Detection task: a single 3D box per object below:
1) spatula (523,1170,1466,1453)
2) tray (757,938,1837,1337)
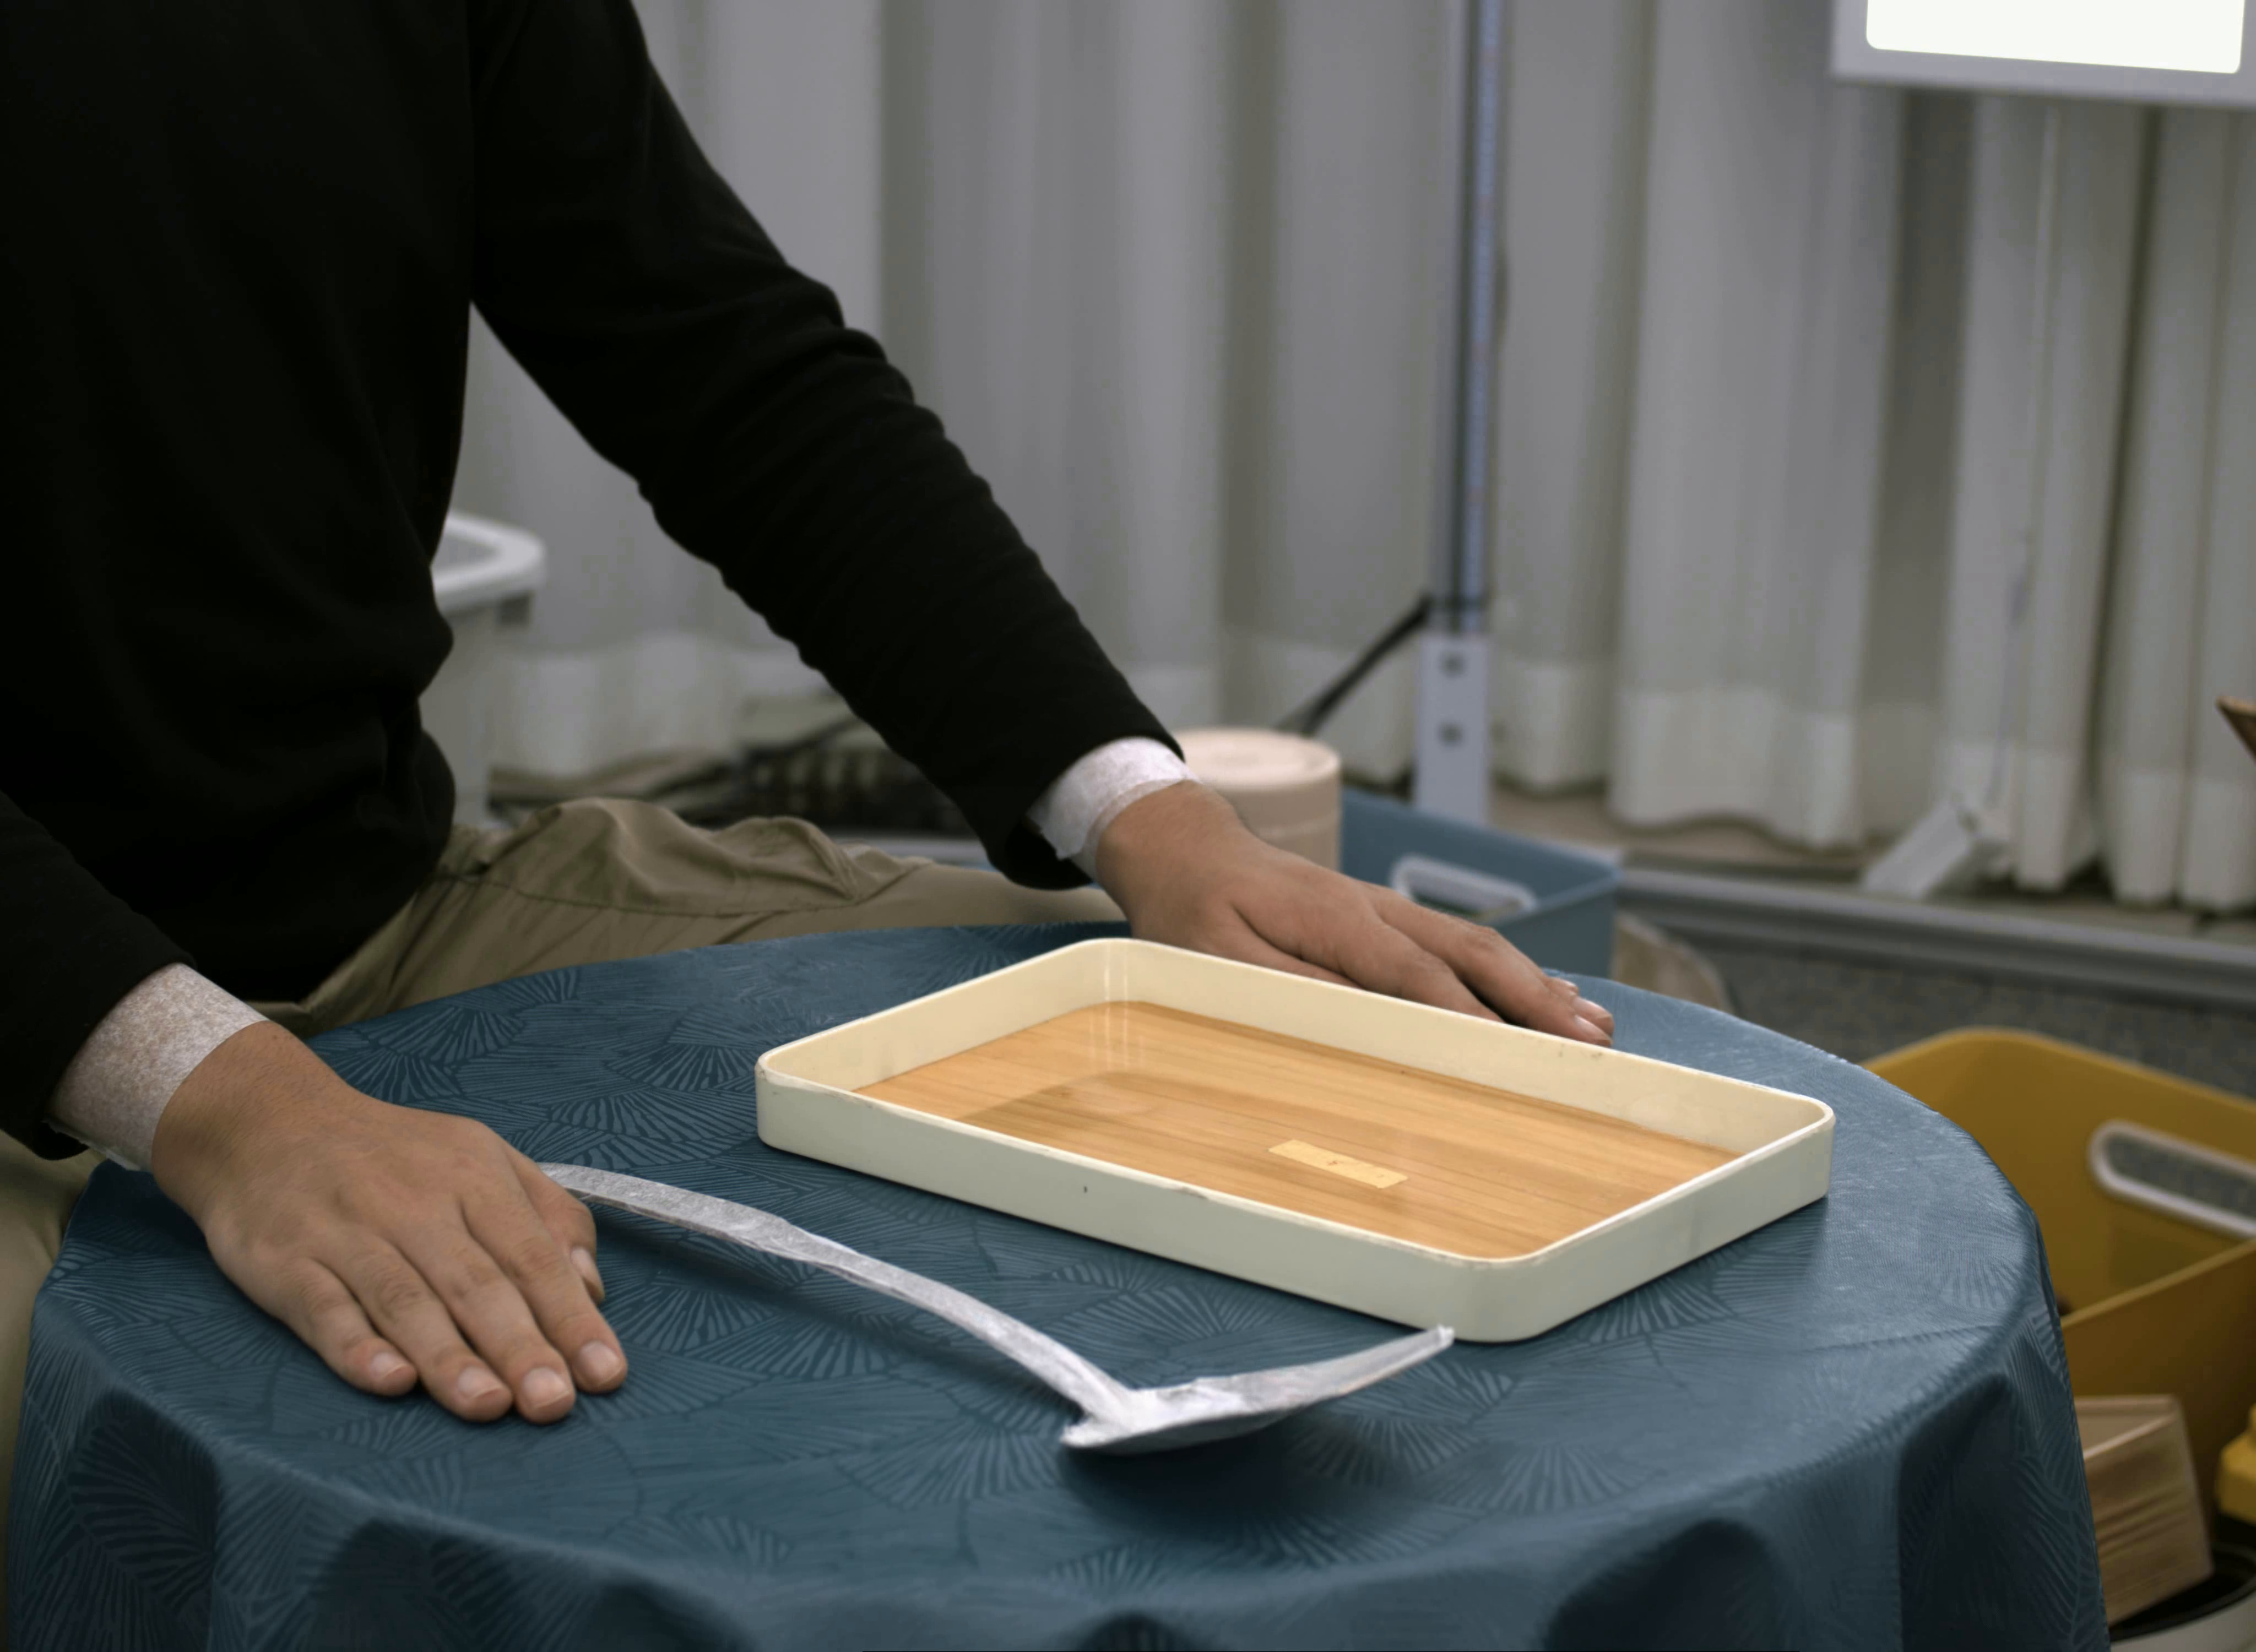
[{"bbox_3d":[-0.061,0.127,1.494,0.360,0.045,0.099,15,22,42],"label":"spatula"},{"bbox_3d":[0.050,0.093,1.642,0.296,0.027,0.192,12,20,37],"label":"tray"}]
